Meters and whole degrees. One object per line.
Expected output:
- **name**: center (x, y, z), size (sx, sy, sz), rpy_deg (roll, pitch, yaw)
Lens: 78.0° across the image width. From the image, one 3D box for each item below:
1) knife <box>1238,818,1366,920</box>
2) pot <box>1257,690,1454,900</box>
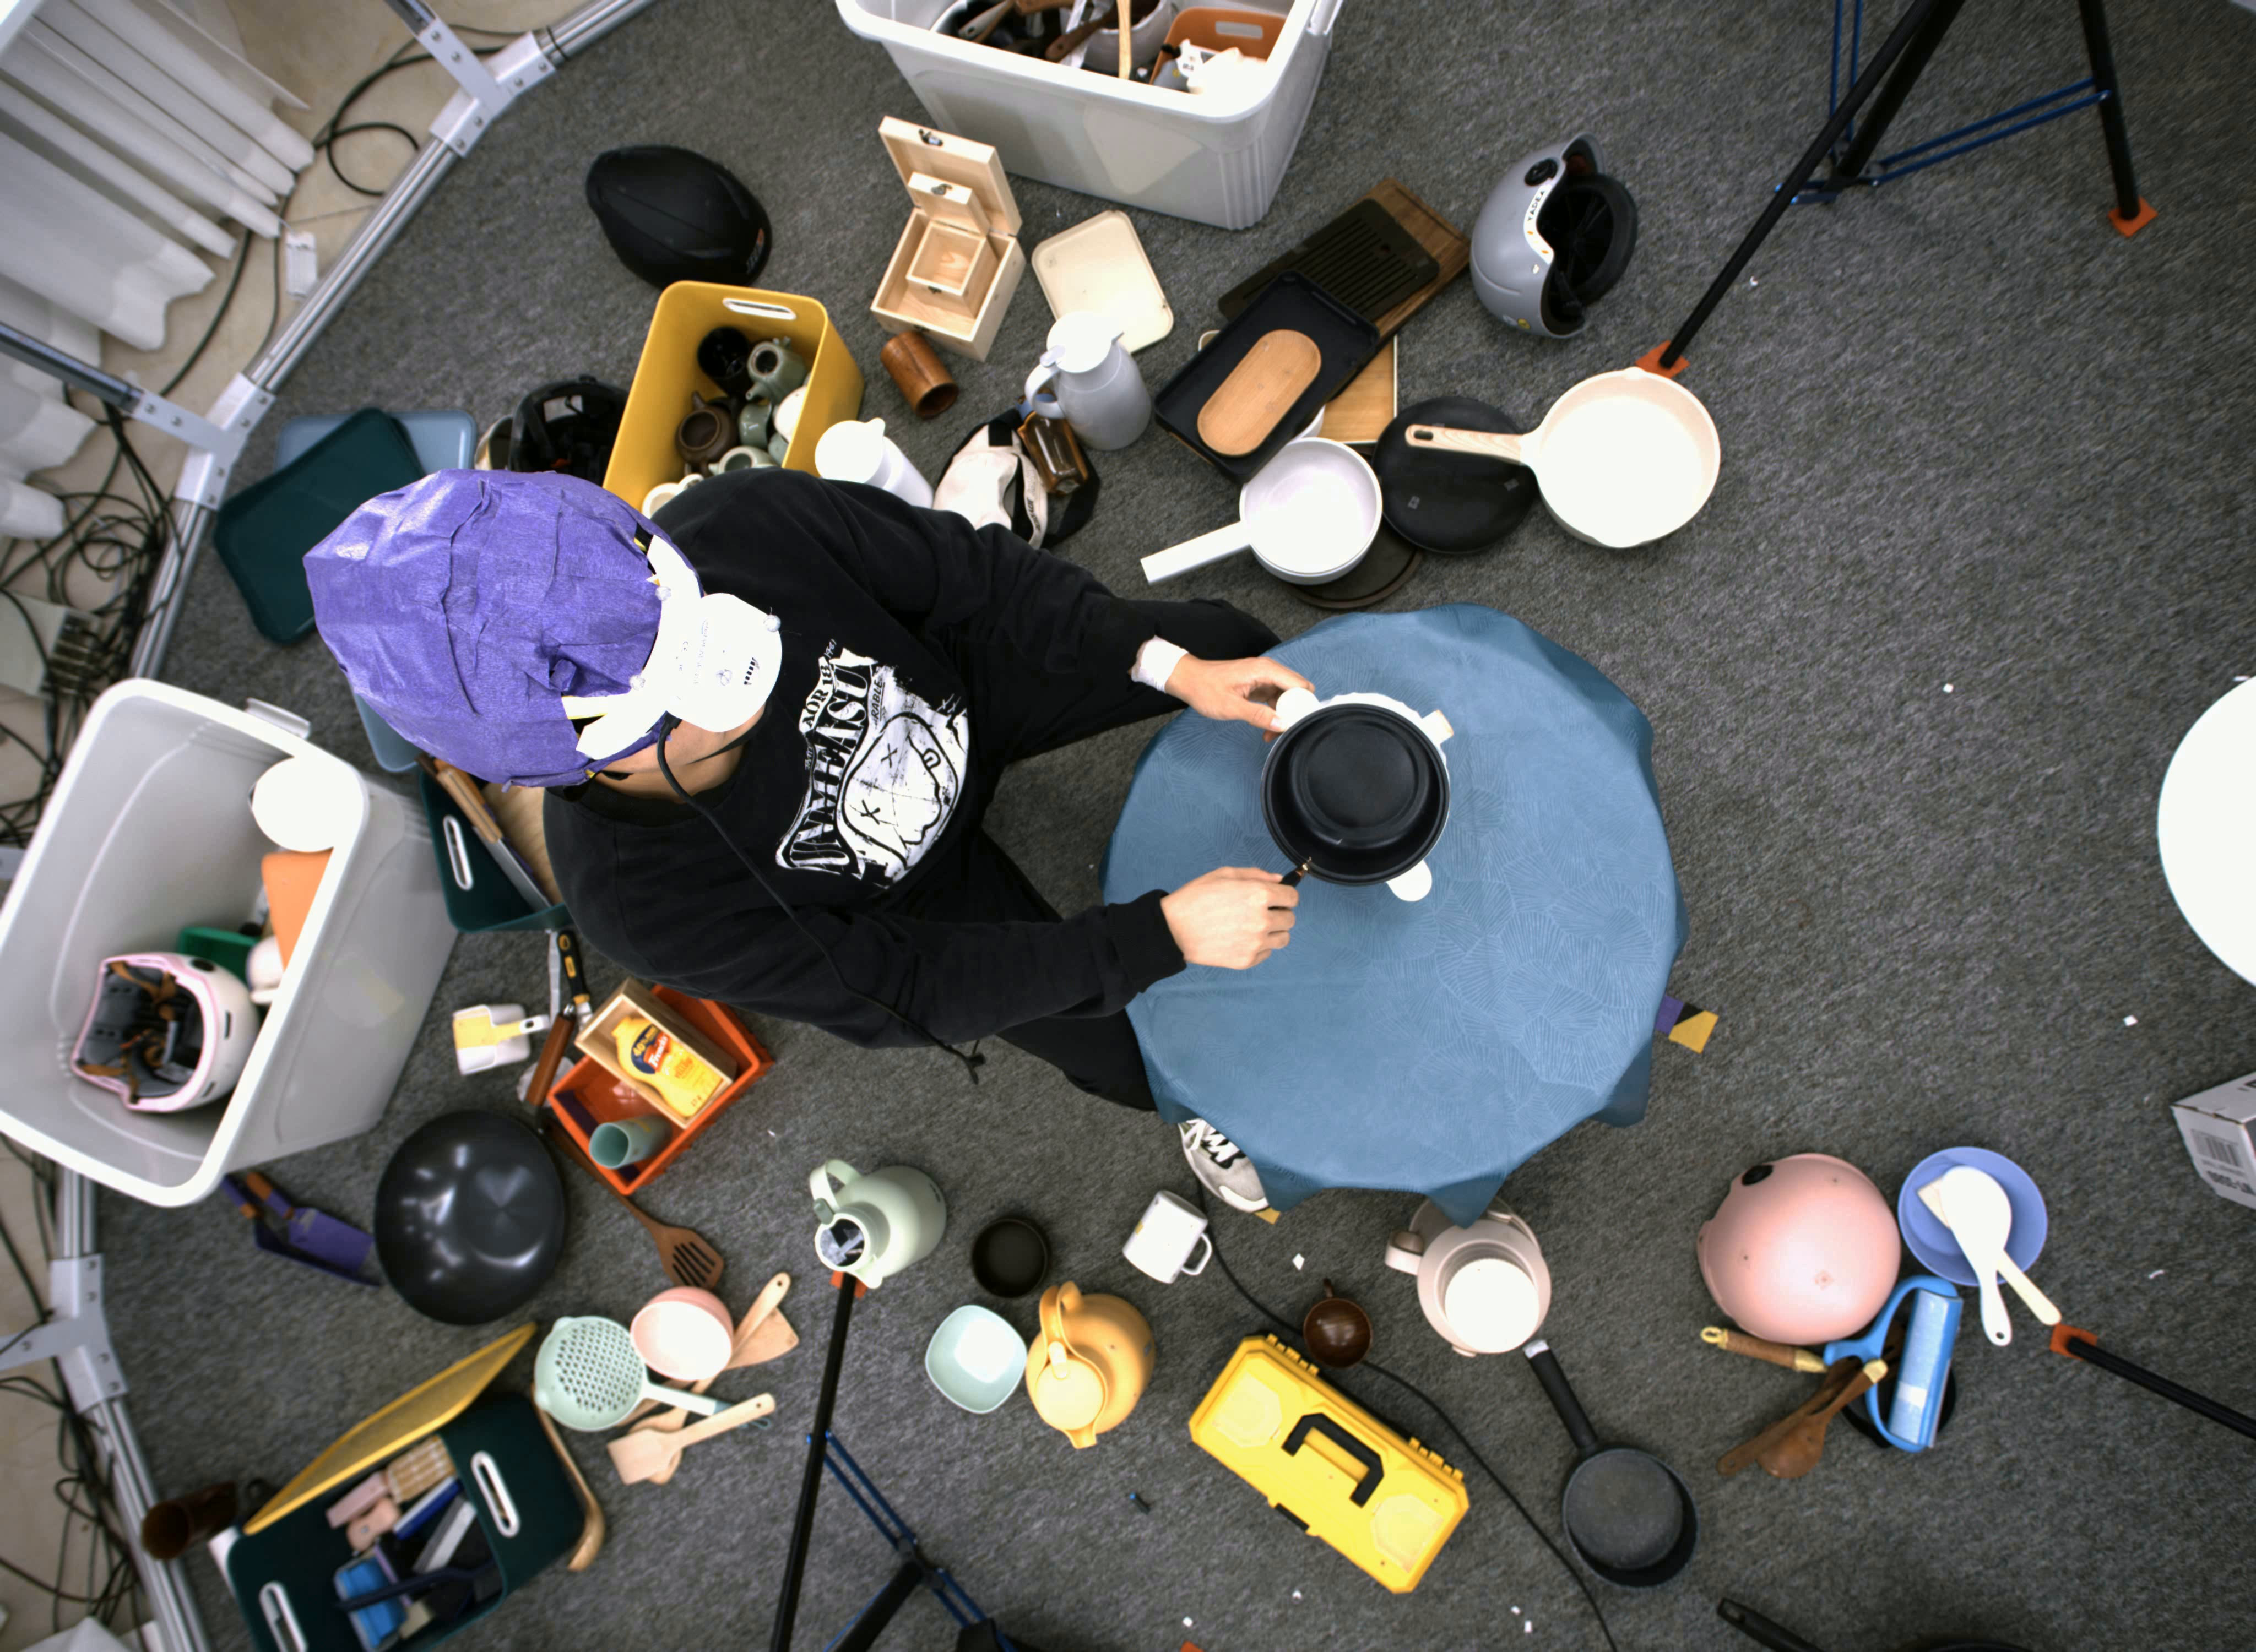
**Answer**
- **knife**: center (0.172, 0.038, 1.336), size (0.017, 0.221, 0.027), rpy_deg (42, 134, 16)
- **pot**: center (0.236, -0.049, 1.385), size (0.193, 0.140, 0.241), rpy_deg (-33, 97, 24)
